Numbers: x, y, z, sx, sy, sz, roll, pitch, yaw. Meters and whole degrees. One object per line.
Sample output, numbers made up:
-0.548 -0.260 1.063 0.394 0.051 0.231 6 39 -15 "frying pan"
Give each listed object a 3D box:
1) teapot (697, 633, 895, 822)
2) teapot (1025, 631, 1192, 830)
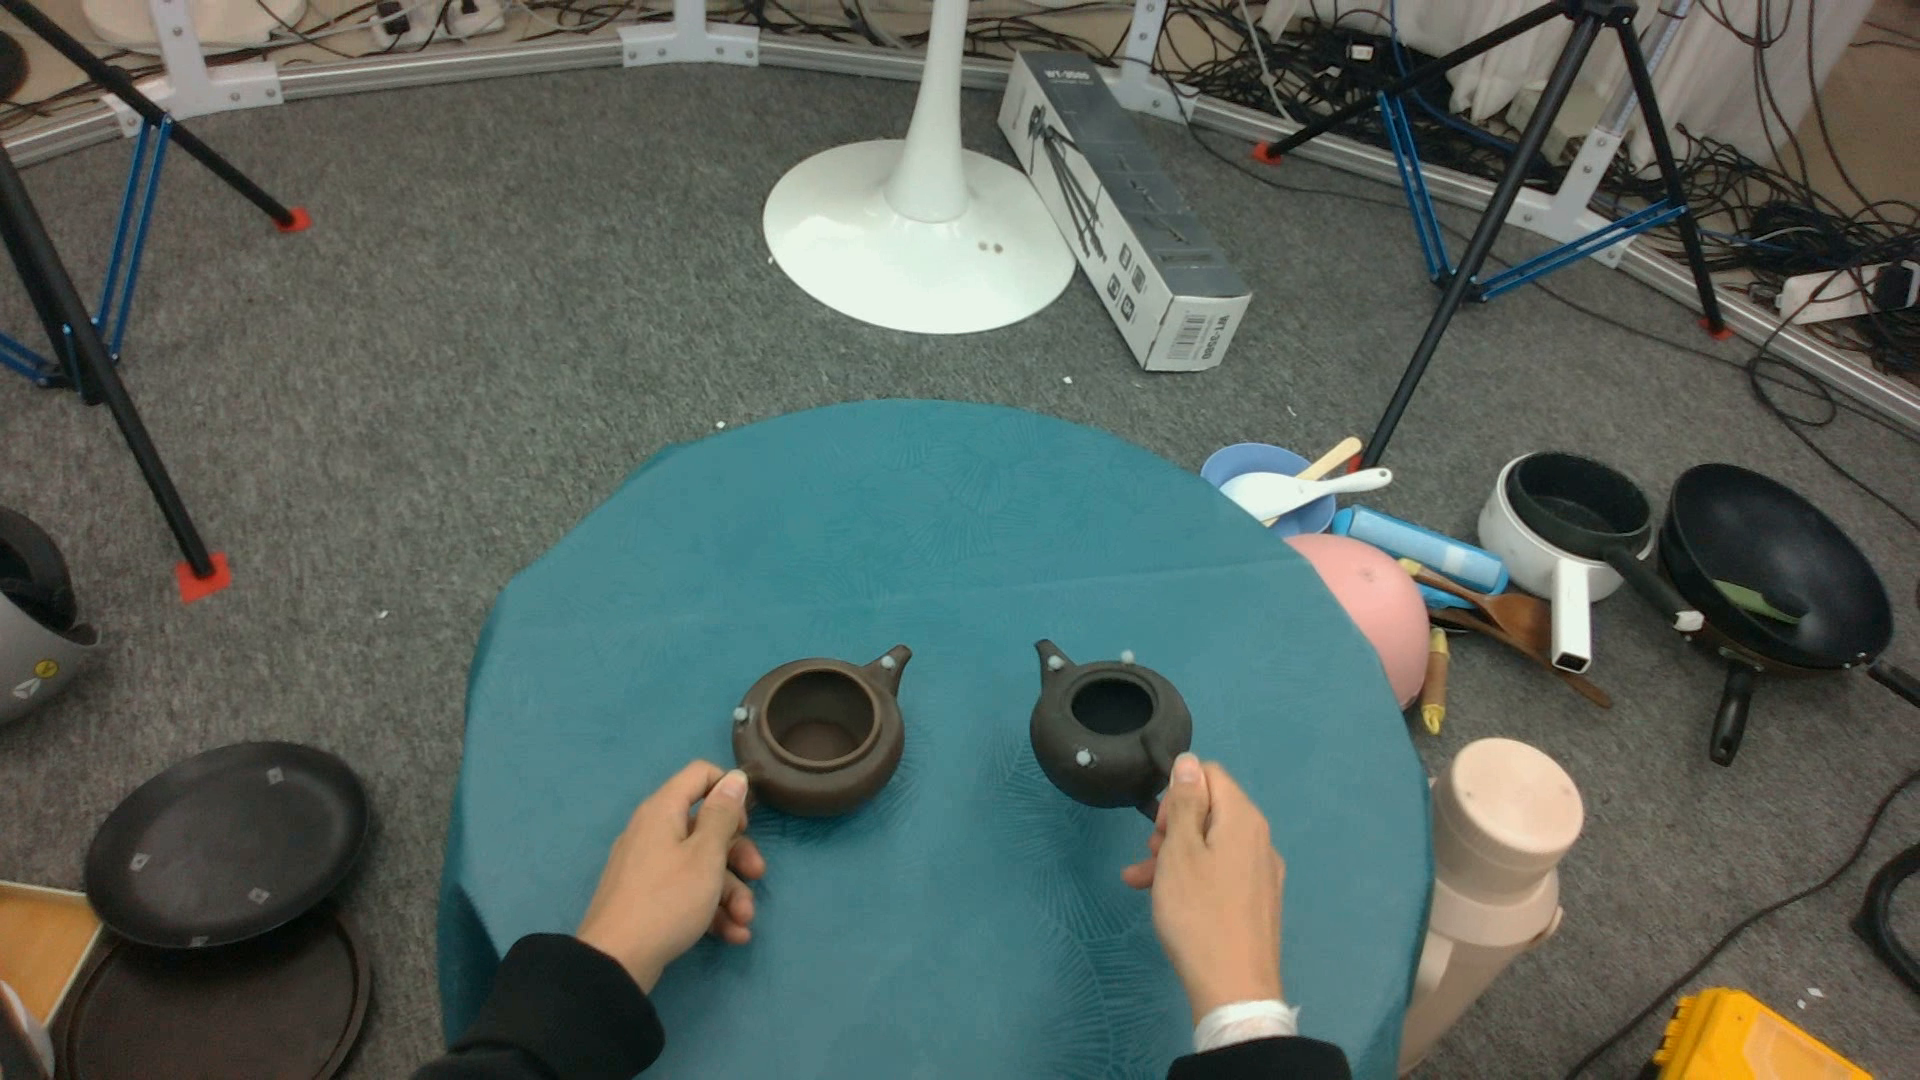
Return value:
-0.094 0.113 0.812 0.102 0.053 0.154 33 51 21 "teapot"
0.085 0.110 0.790 0.092 0.064 0.154 -20 40 -20 "teapot"
